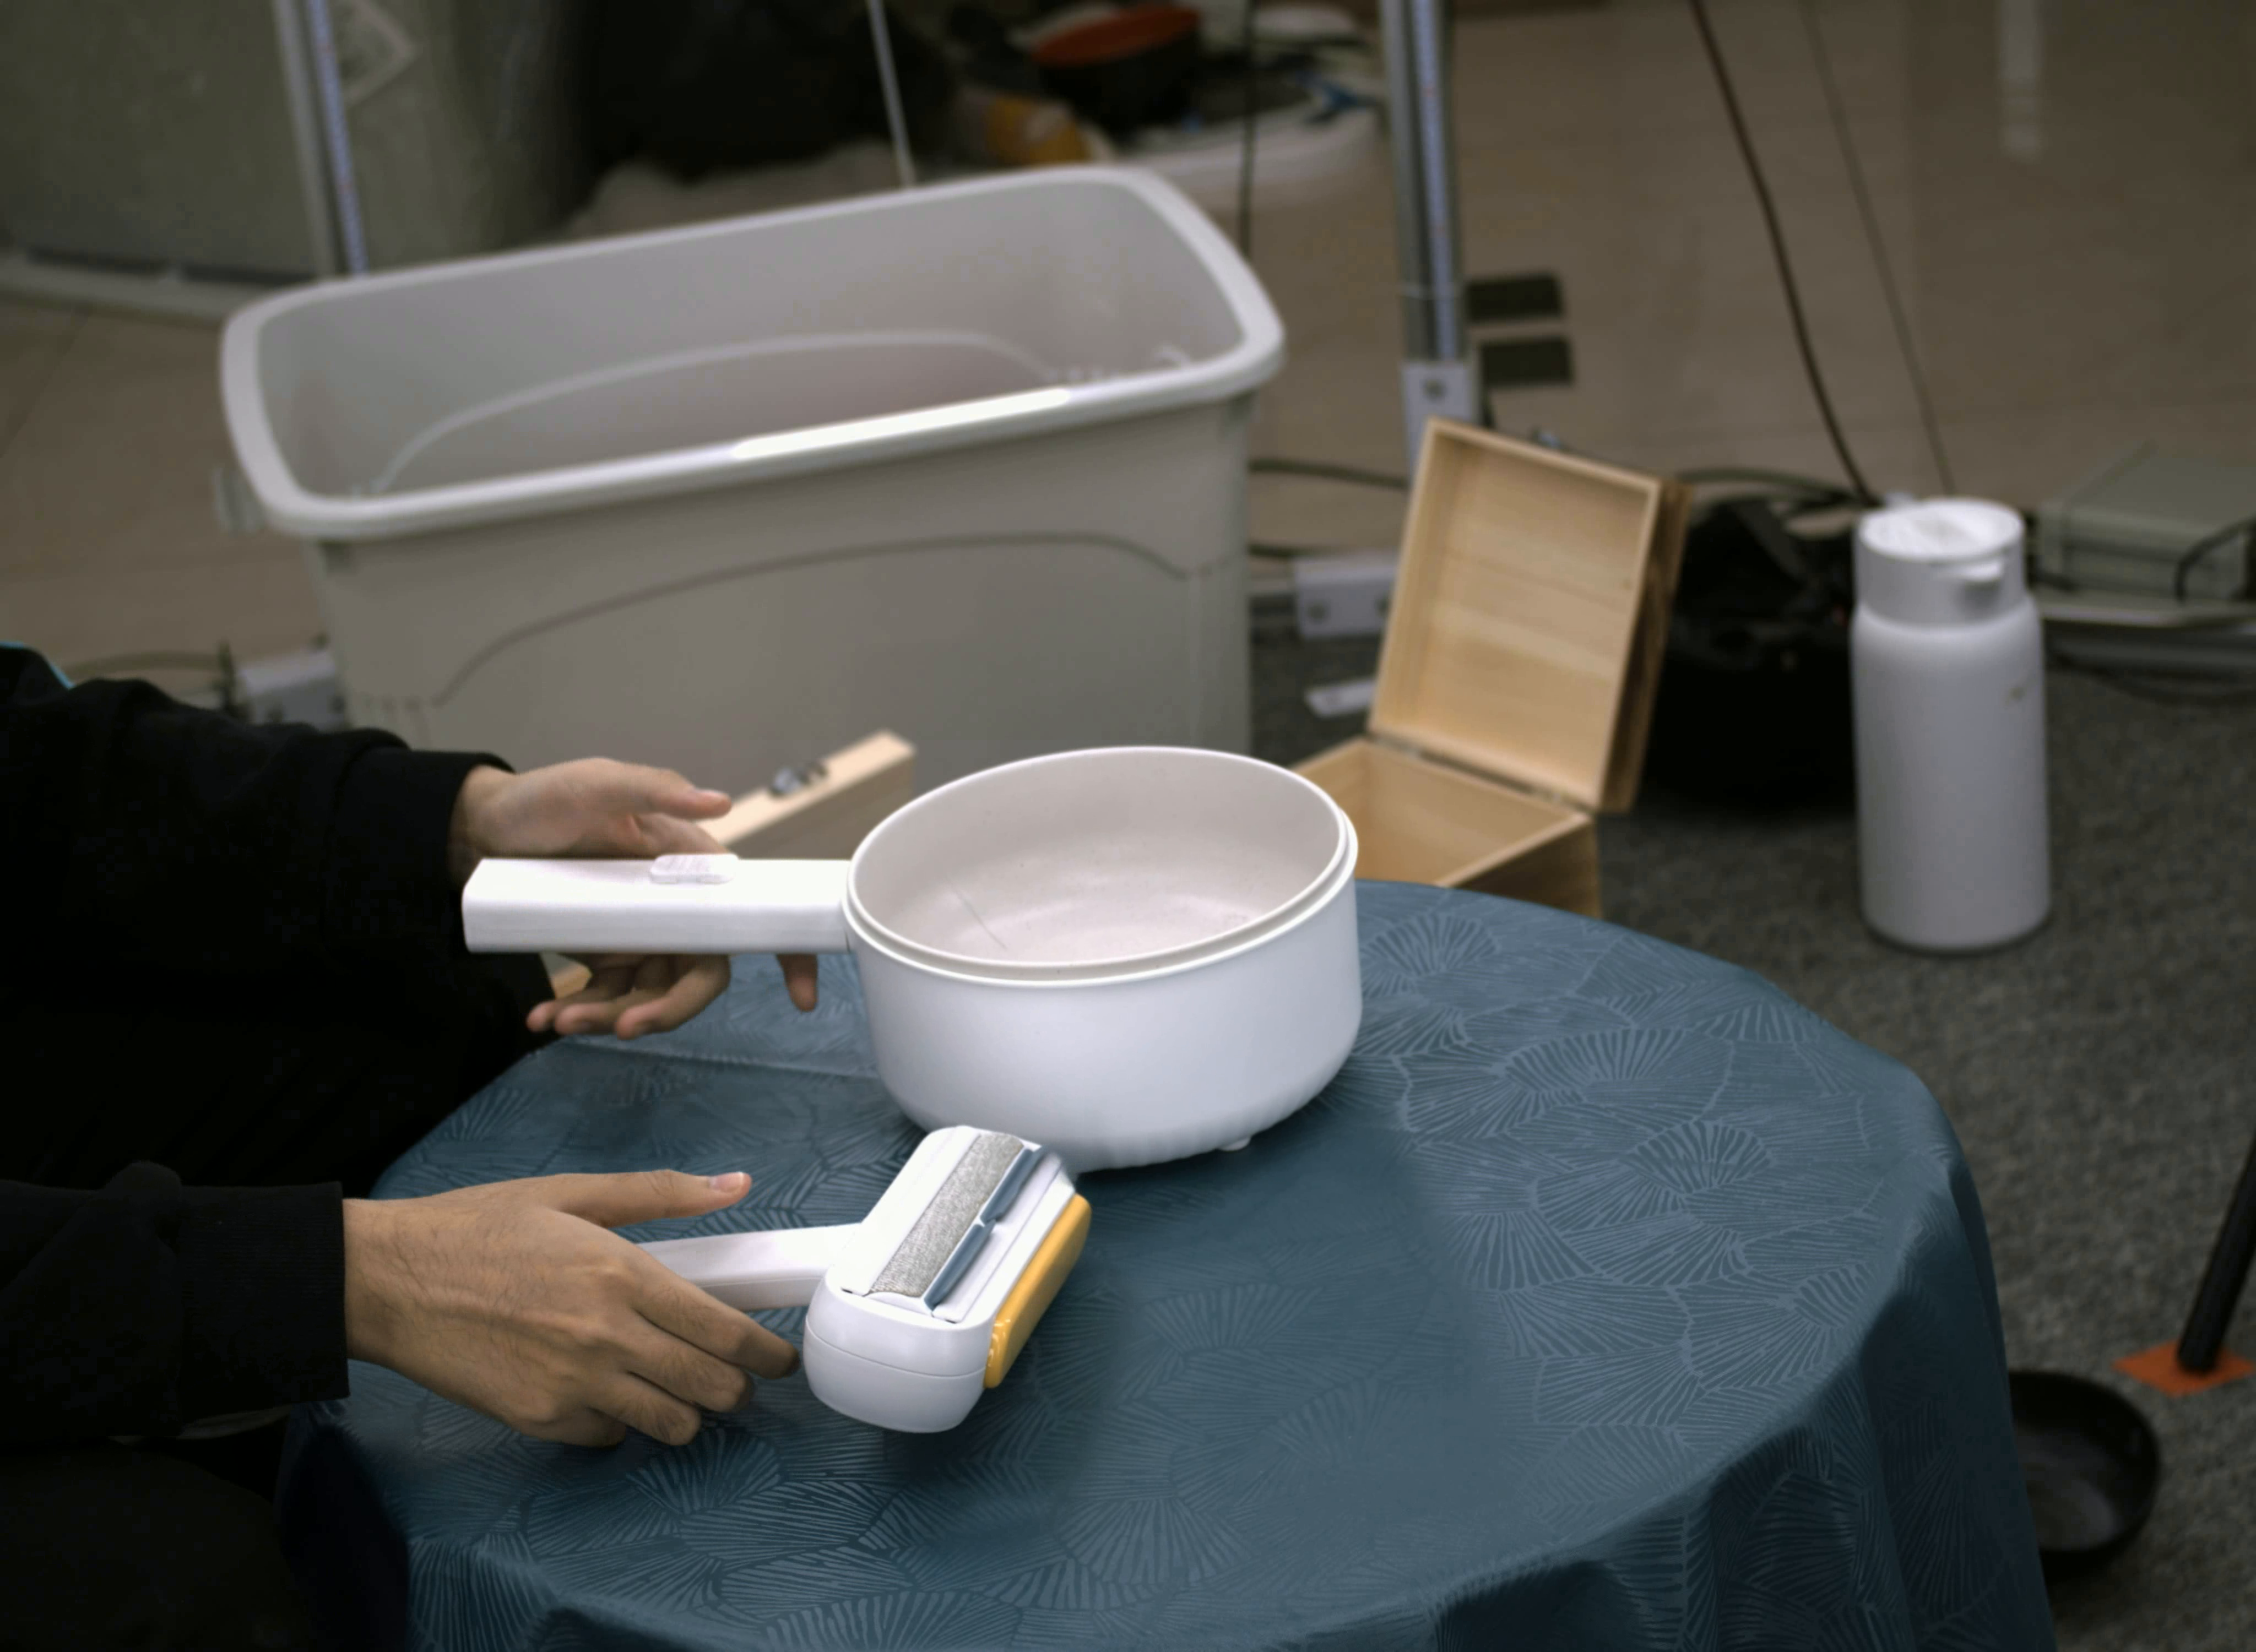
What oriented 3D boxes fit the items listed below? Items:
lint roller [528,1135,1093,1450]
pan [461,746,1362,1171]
[{"bbox_3d":[-0.123,0.160,2.028,0.192,0.075,0.190,9,23,14],"label":"lint roller"},{"bbox_3d":[-0.083,0.057,2.218,0.354,0.104,0.198,-1,26,11],"label":"pan"}]
